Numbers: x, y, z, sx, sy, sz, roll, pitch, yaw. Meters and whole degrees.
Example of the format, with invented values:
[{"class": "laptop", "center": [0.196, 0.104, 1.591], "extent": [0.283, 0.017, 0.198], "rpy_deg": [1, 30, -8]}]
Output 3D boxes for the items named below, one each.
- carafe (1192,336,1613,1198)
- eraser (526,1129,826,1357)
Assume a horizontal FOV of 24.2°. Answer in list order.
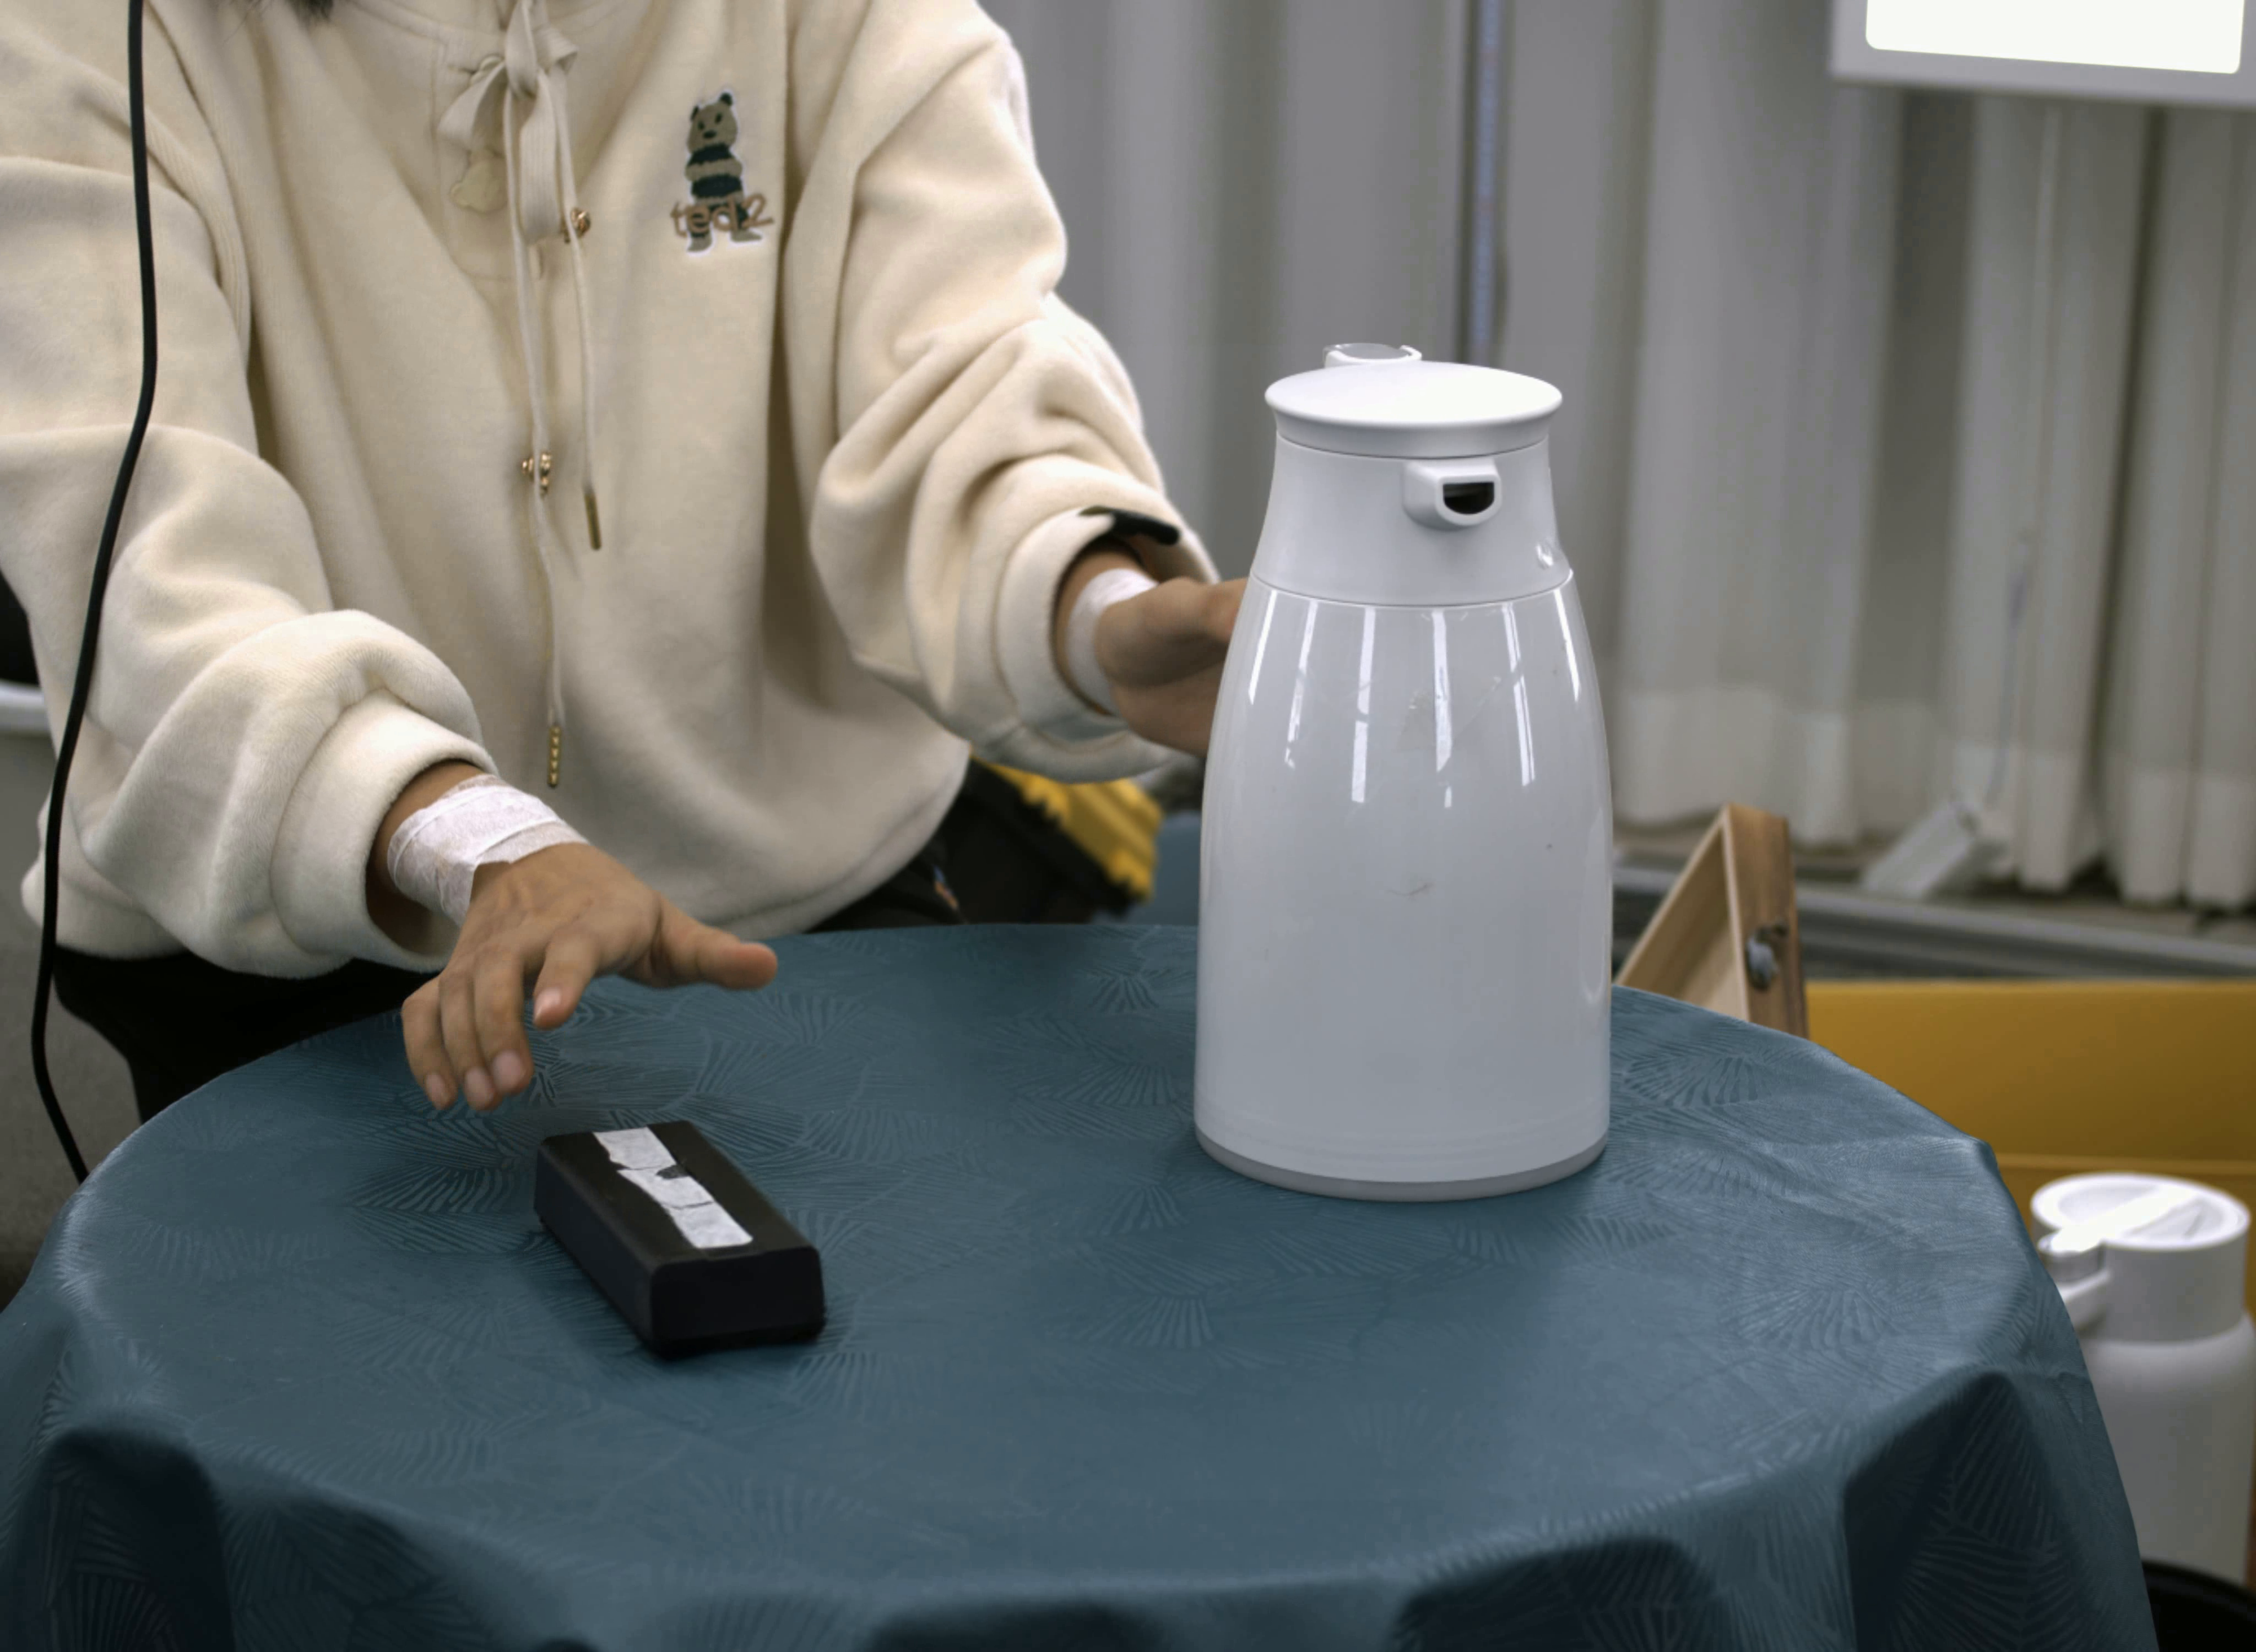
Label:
[{"class": "carafe", "center": [0.081, -0.027, 1.658], "extent": [0.132, 0.250, 0.166], "rpy_deg": [-4, 16, -14]}, {"class": "eraser", "center": [-0.133, 0.120, 1.534], "extent": [0.054, 0.030, 0.124], "rpy_deg": [-4, 16, -23]}]
